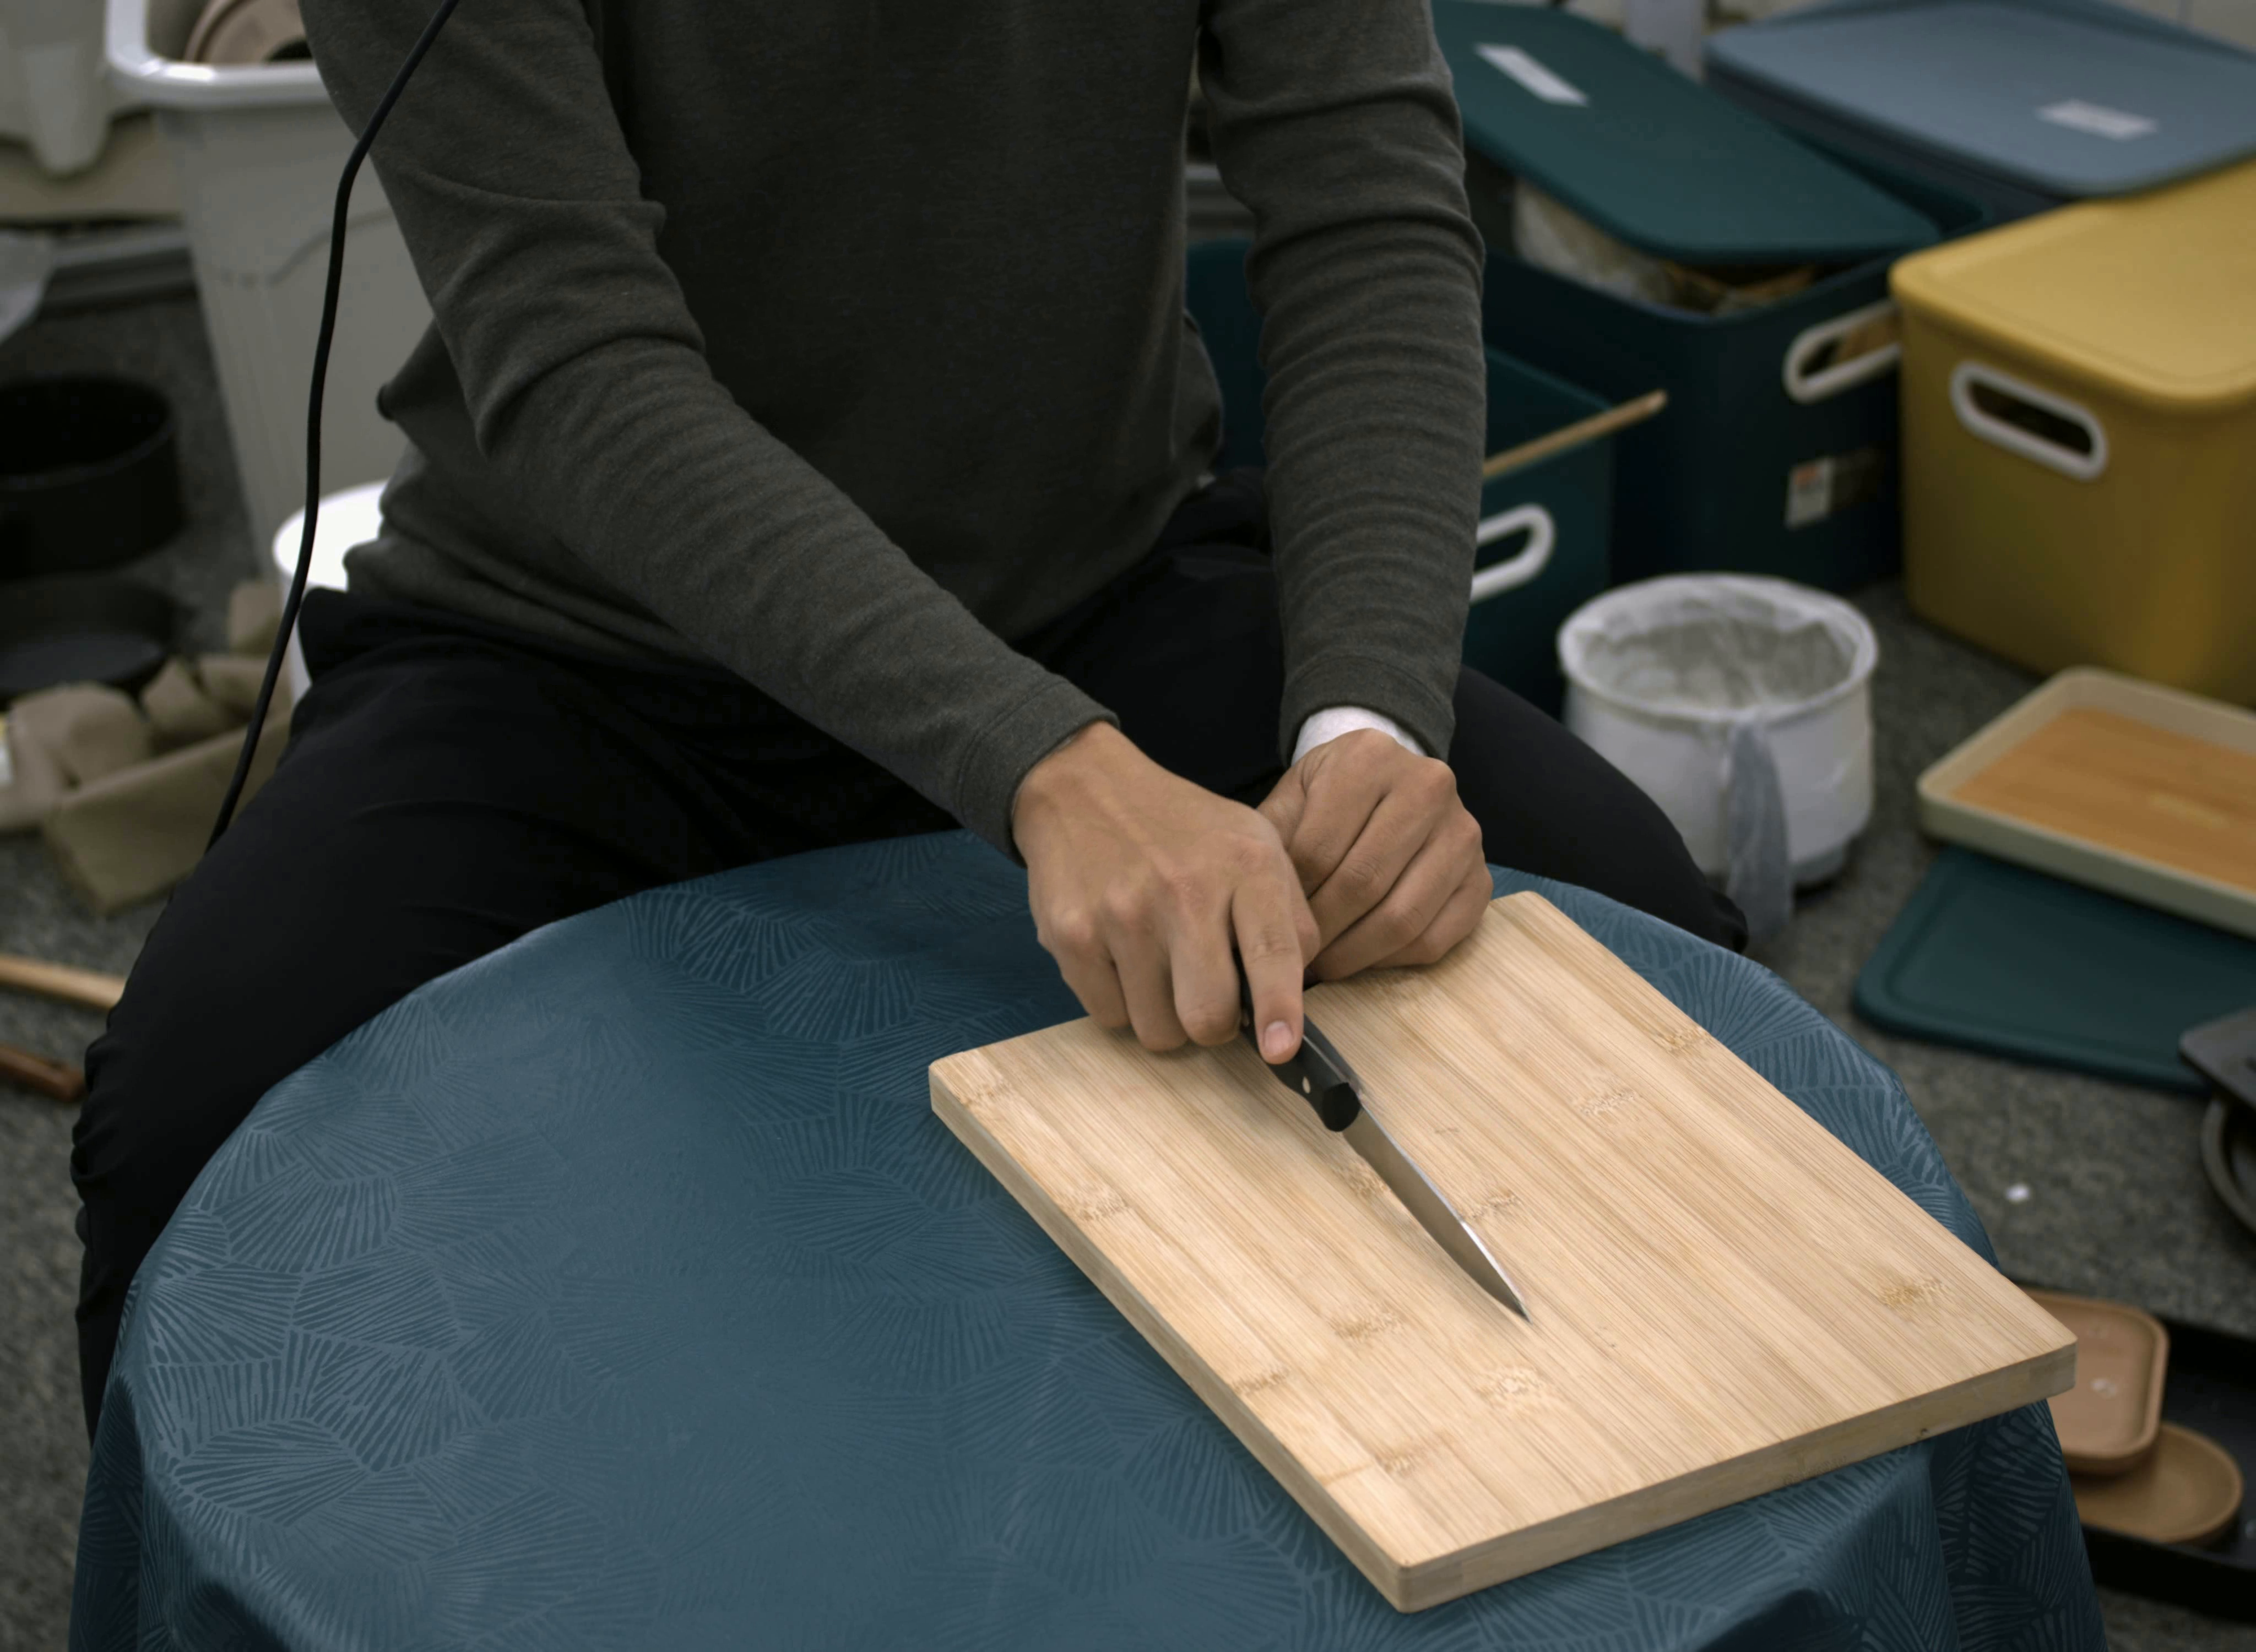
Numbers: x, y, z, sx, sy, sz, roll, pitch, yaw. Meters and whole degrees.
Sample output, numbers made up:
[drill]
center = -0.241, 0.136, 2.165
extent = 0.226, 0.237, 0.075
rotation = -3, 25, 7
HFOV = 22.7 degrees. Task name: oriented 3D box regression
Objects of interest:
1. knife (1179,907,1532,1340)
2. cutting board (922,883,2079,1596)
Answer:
[knife]
center = 0.073, 0.093, 1.826
extent = 0.016, 0.024, 0.240
rotation = -12, 37, -23
[cutting board]
center = 0.111, 0.125, 1.827
extent = 0.252, 0.023, 0.350
rotation = -15, 30, -23
